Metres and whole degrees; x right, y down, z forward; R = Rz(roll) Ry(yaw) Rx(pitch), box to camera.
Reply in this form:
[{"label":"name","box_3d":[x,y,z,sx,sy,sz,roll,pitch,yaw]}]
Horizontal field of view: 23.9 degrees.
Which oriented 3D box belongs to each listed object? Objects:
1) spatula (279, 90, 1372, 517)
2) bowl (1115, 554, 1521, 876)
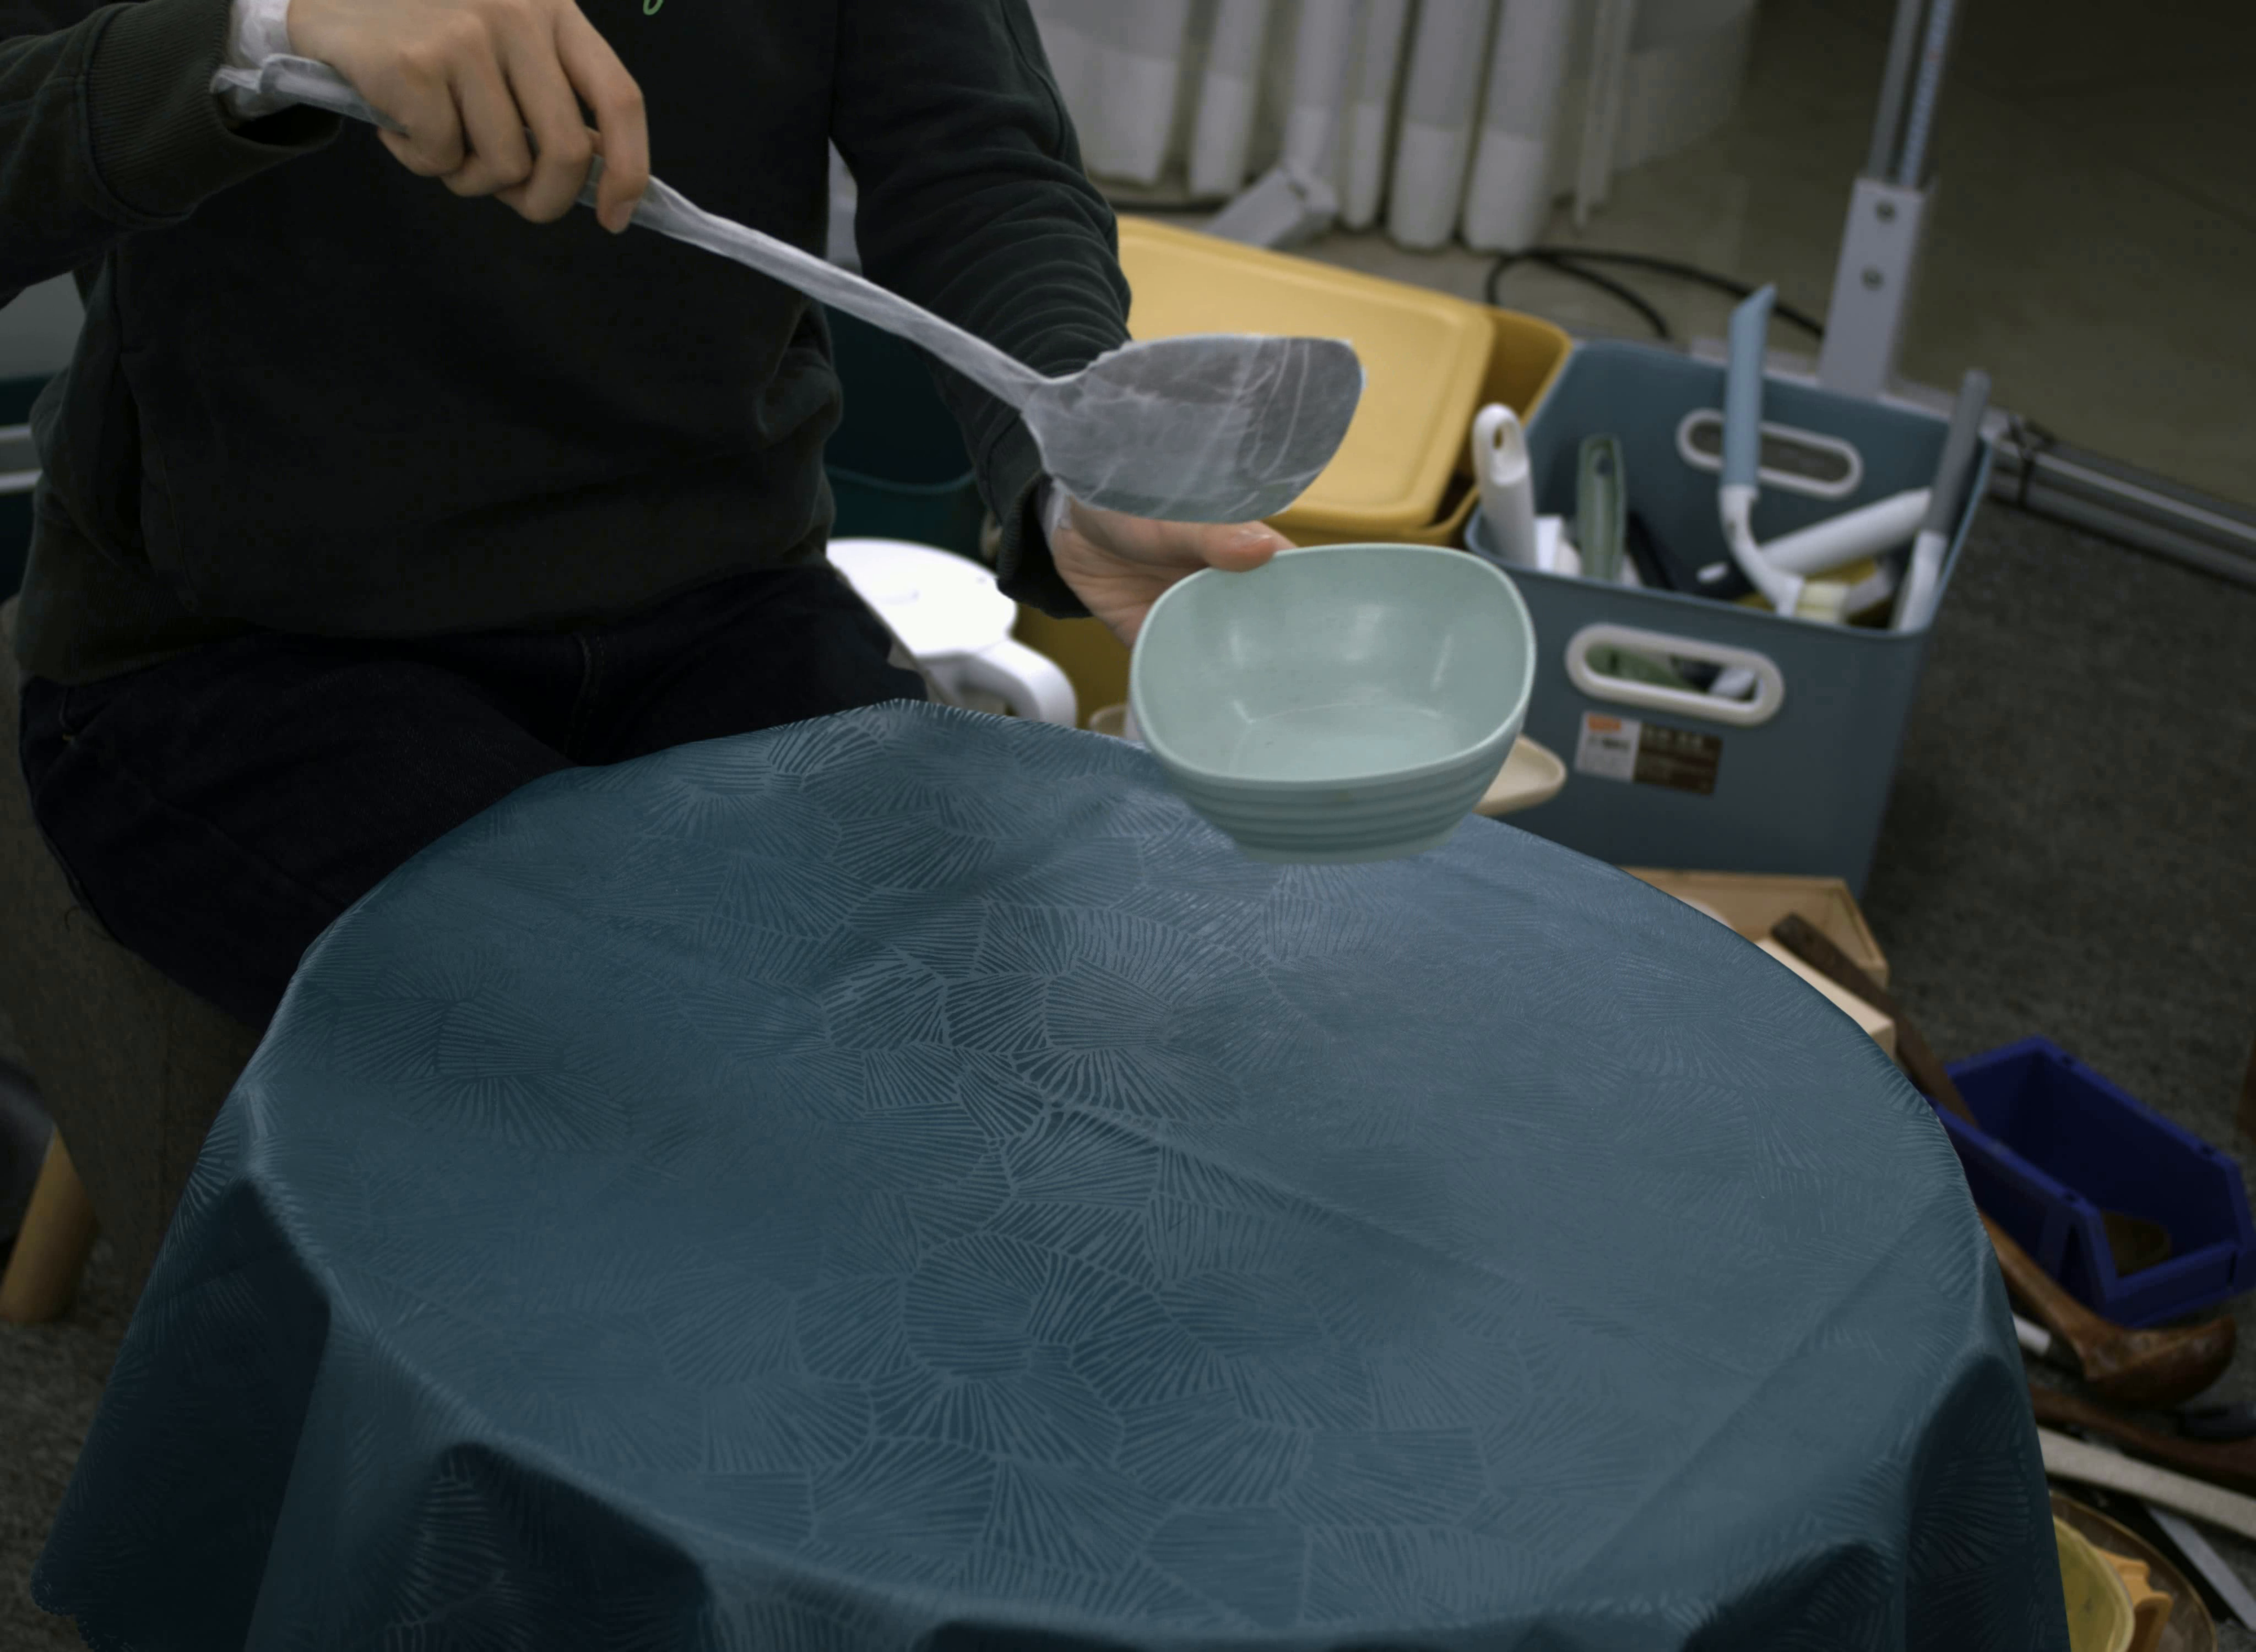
[{"label":"spatula","box_3d":[-0.097,-0.180,1.733,0.363,0.098,0.045,22,50,-5]},{"label":"bowl","box_3d":[0.066,-0.031,1.828,0.151,0.058,0.152,-4,36,3]}]
